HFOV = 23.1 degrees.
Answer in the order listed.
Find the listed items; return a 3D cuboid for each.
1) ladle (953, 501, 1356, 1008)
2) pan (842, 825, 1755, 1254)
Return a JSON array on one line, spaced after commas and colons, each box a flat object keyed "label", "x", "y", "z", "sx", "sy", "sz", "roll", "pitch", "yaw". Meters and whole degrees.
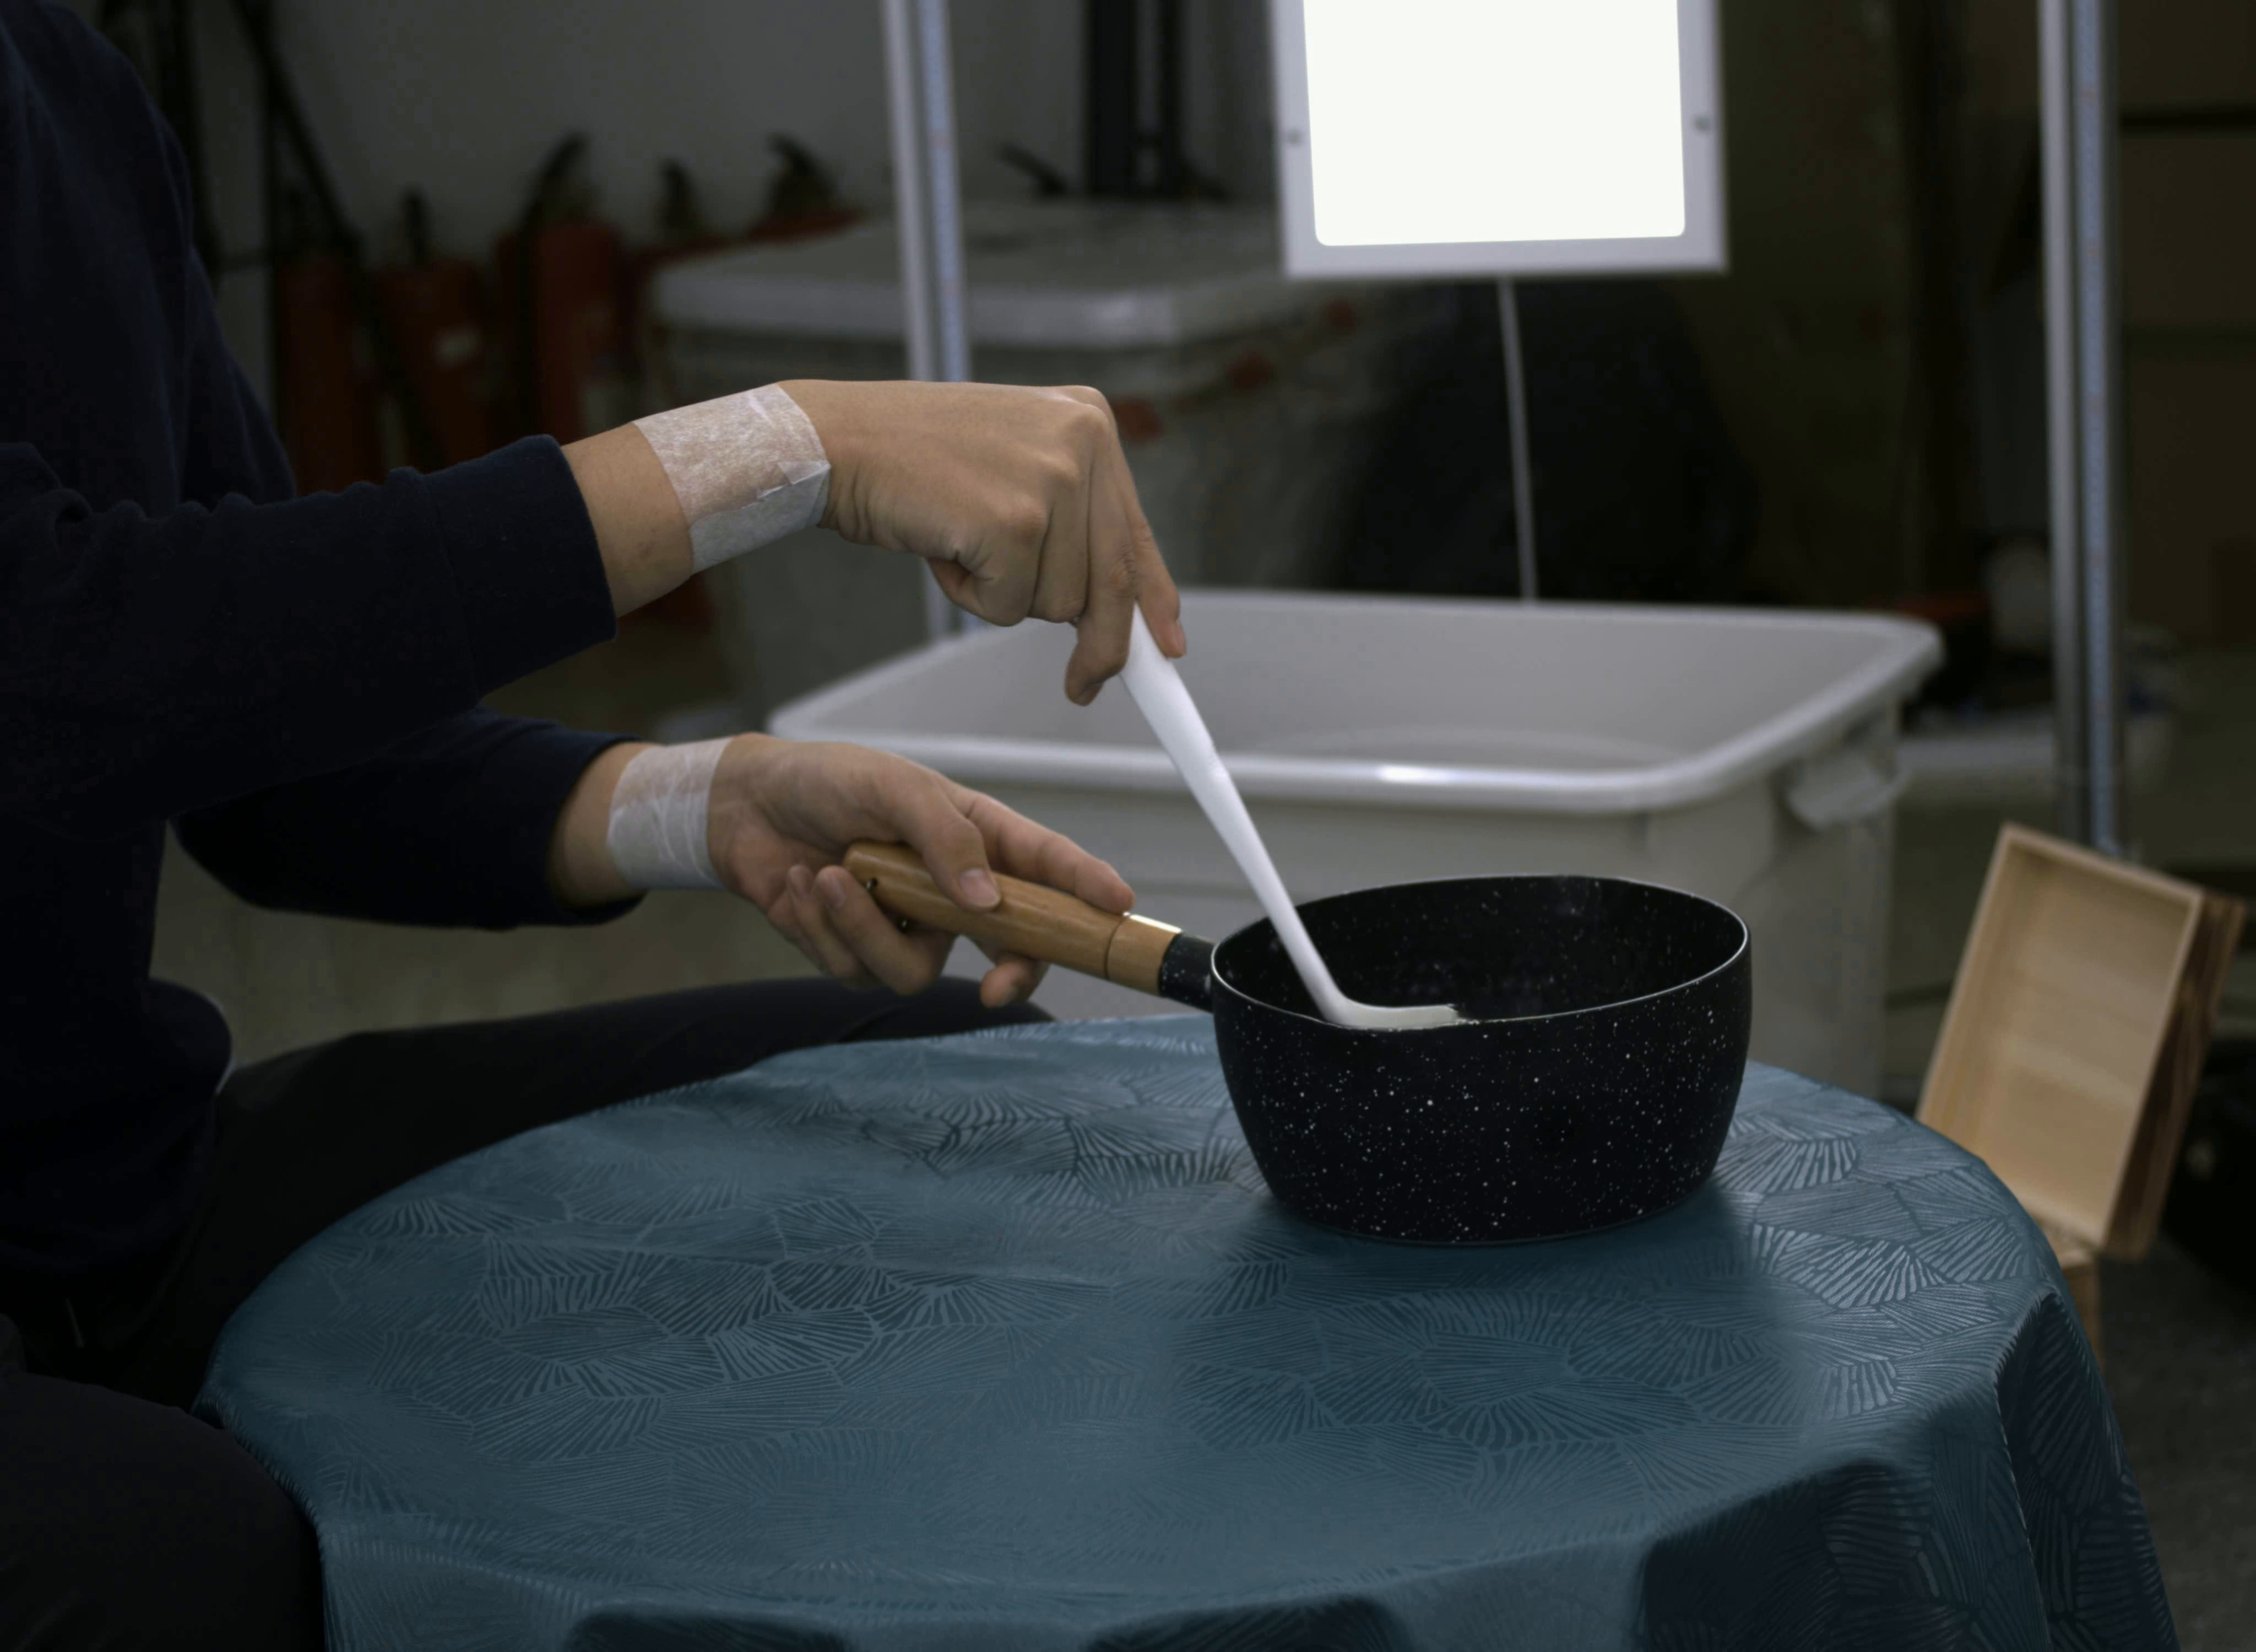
[{"label": "ladle", "x": 0.052, "y": 0.005, "z": 1.844, "sx": 0.071, "sy": 0.291, "sz": 0.089, "roll": -28, "pitch": 19, "yaw": 26}, {"label": "pan", "x": 0.051, "y": 0.065, "z": 1.902, "sx": 0.349, "sy": 0.108, "sz": 0.203, "roll": 4, "pitch": 18, "yaw": 29}]
